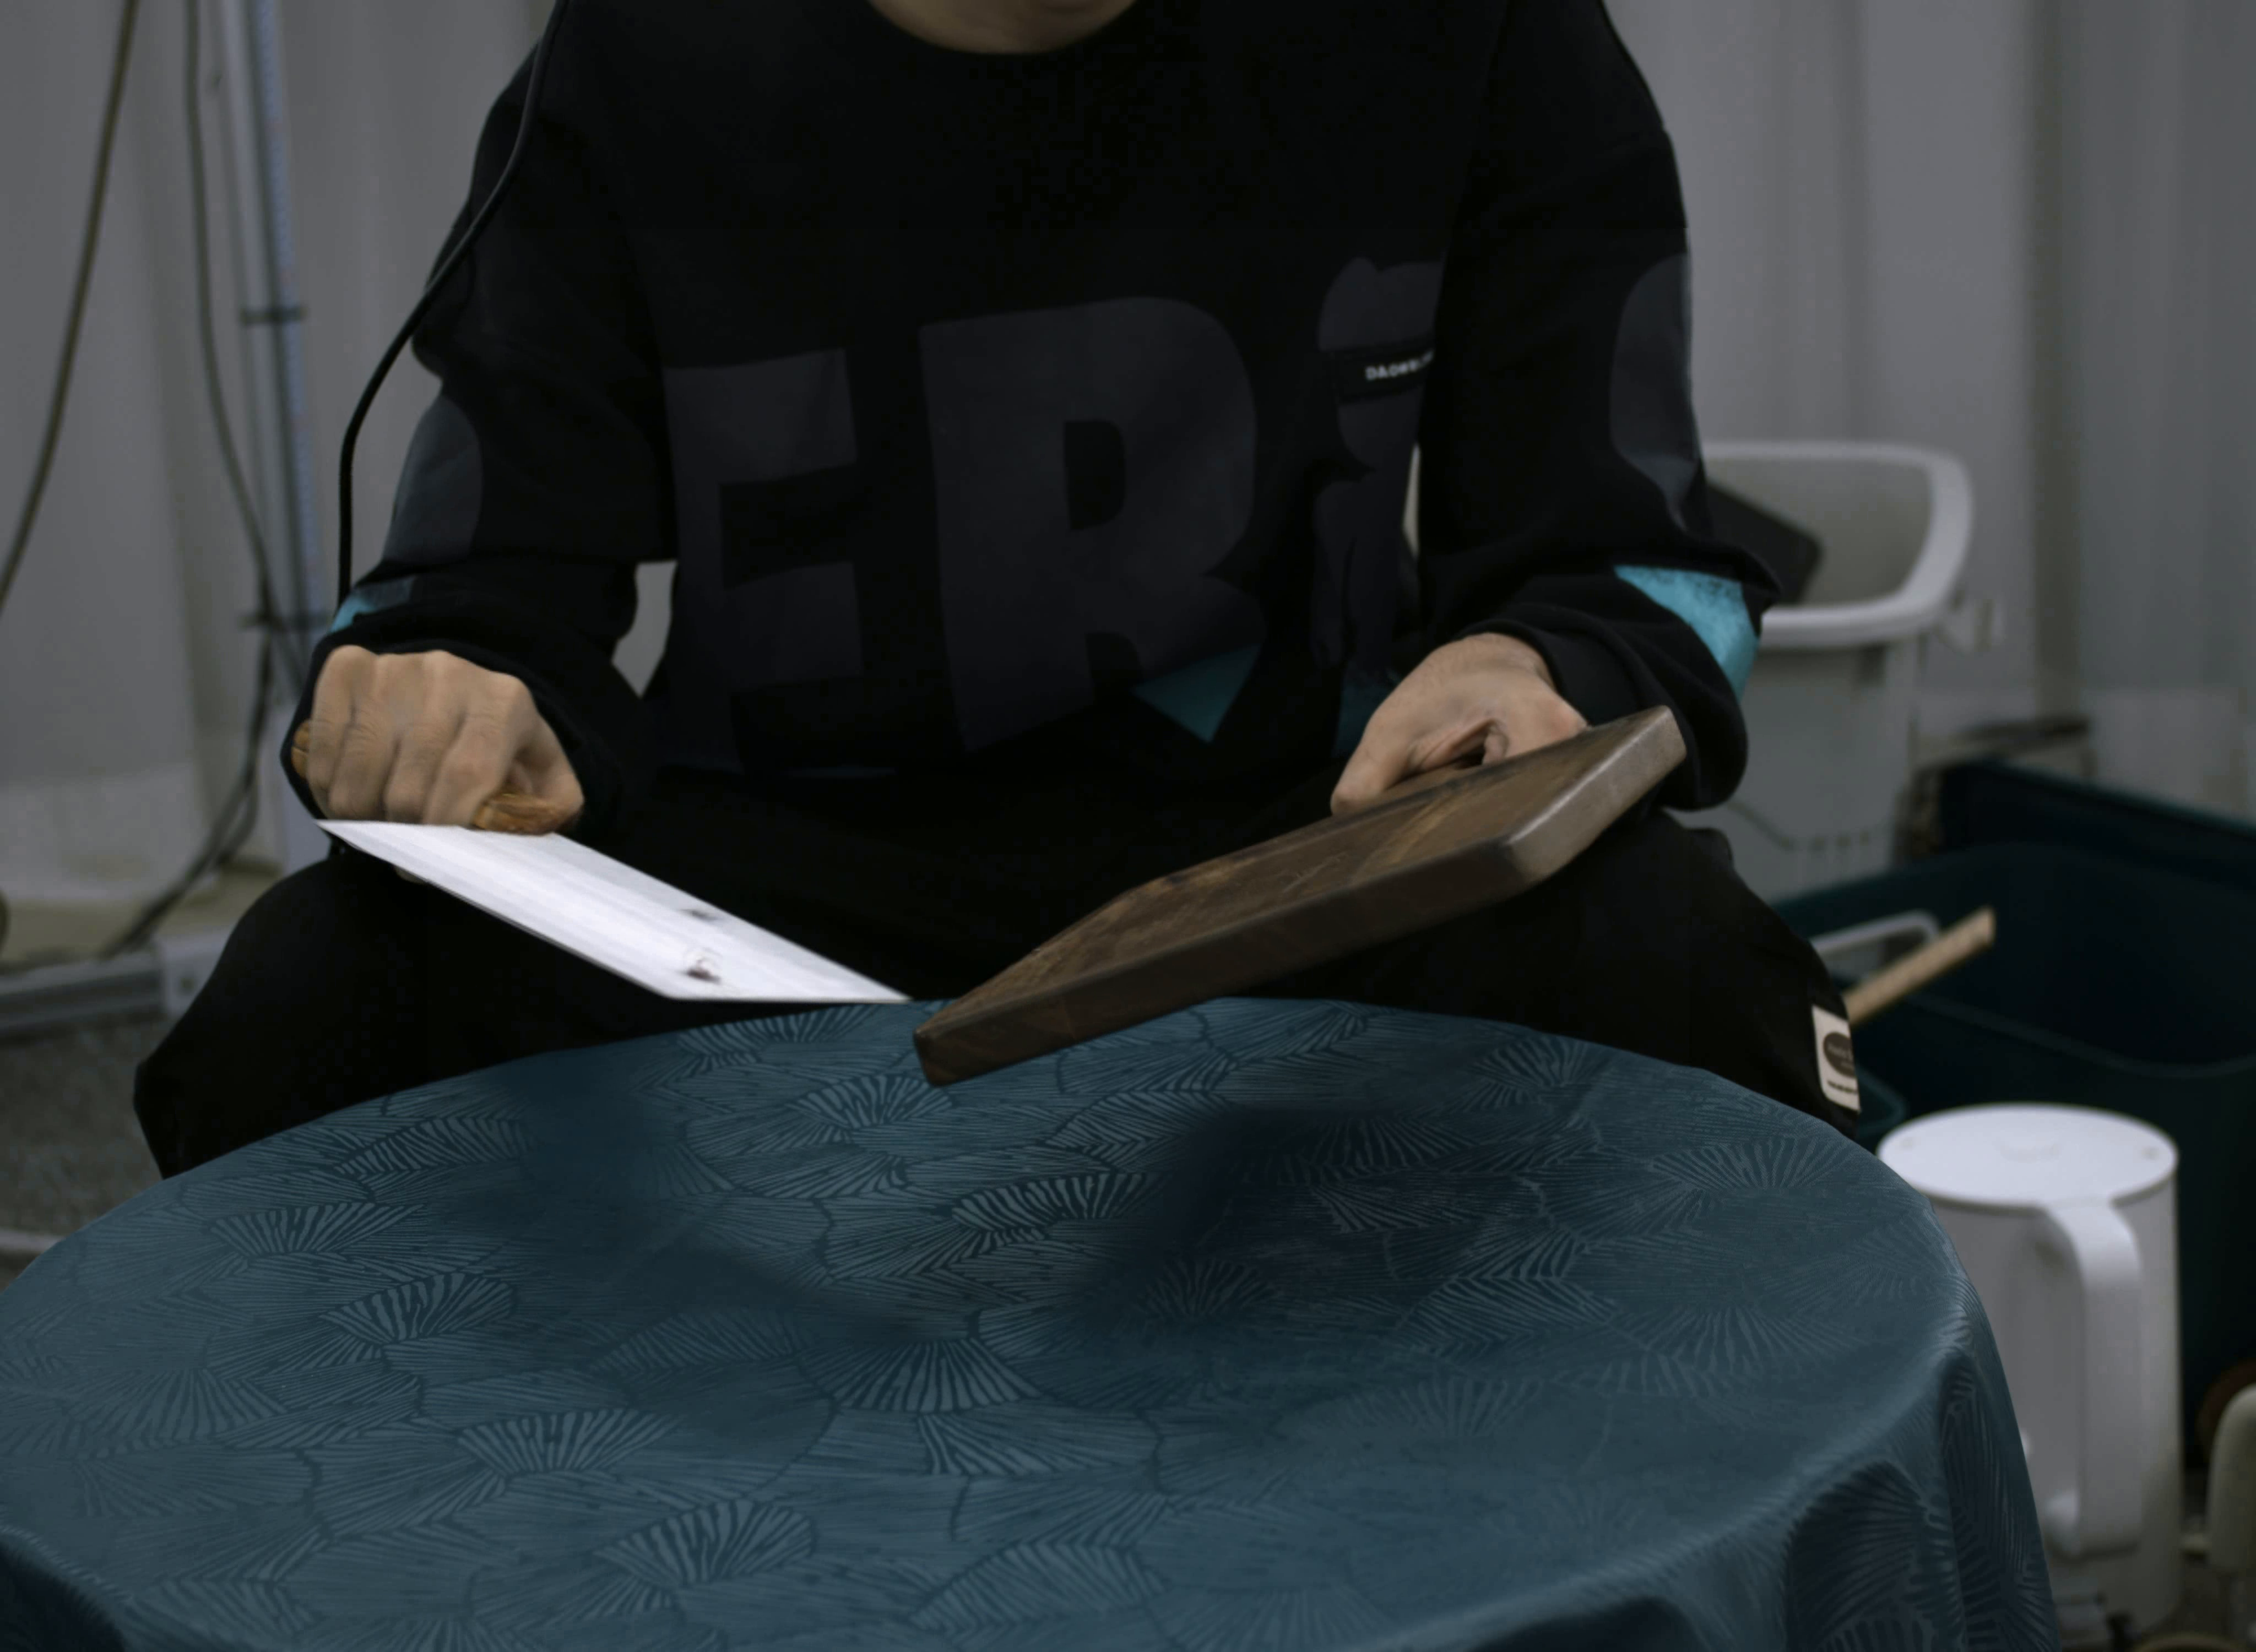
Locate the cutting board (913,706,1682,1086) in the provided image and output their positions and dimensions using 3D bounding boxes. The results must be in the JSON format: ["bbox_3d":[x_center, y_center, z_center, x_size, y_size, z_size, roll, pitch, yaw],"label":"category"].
[{"bbox_3d":[0.069,0.011,1.701,0.200,0.023,0.352,-19,3,17],"label":"cutting board"}]

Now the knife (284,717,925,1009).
[{"bbox_3d":[-0.186,0.012,1.684,0.092,0.021,0.308,0,14,-42],"label":"knife"}]
